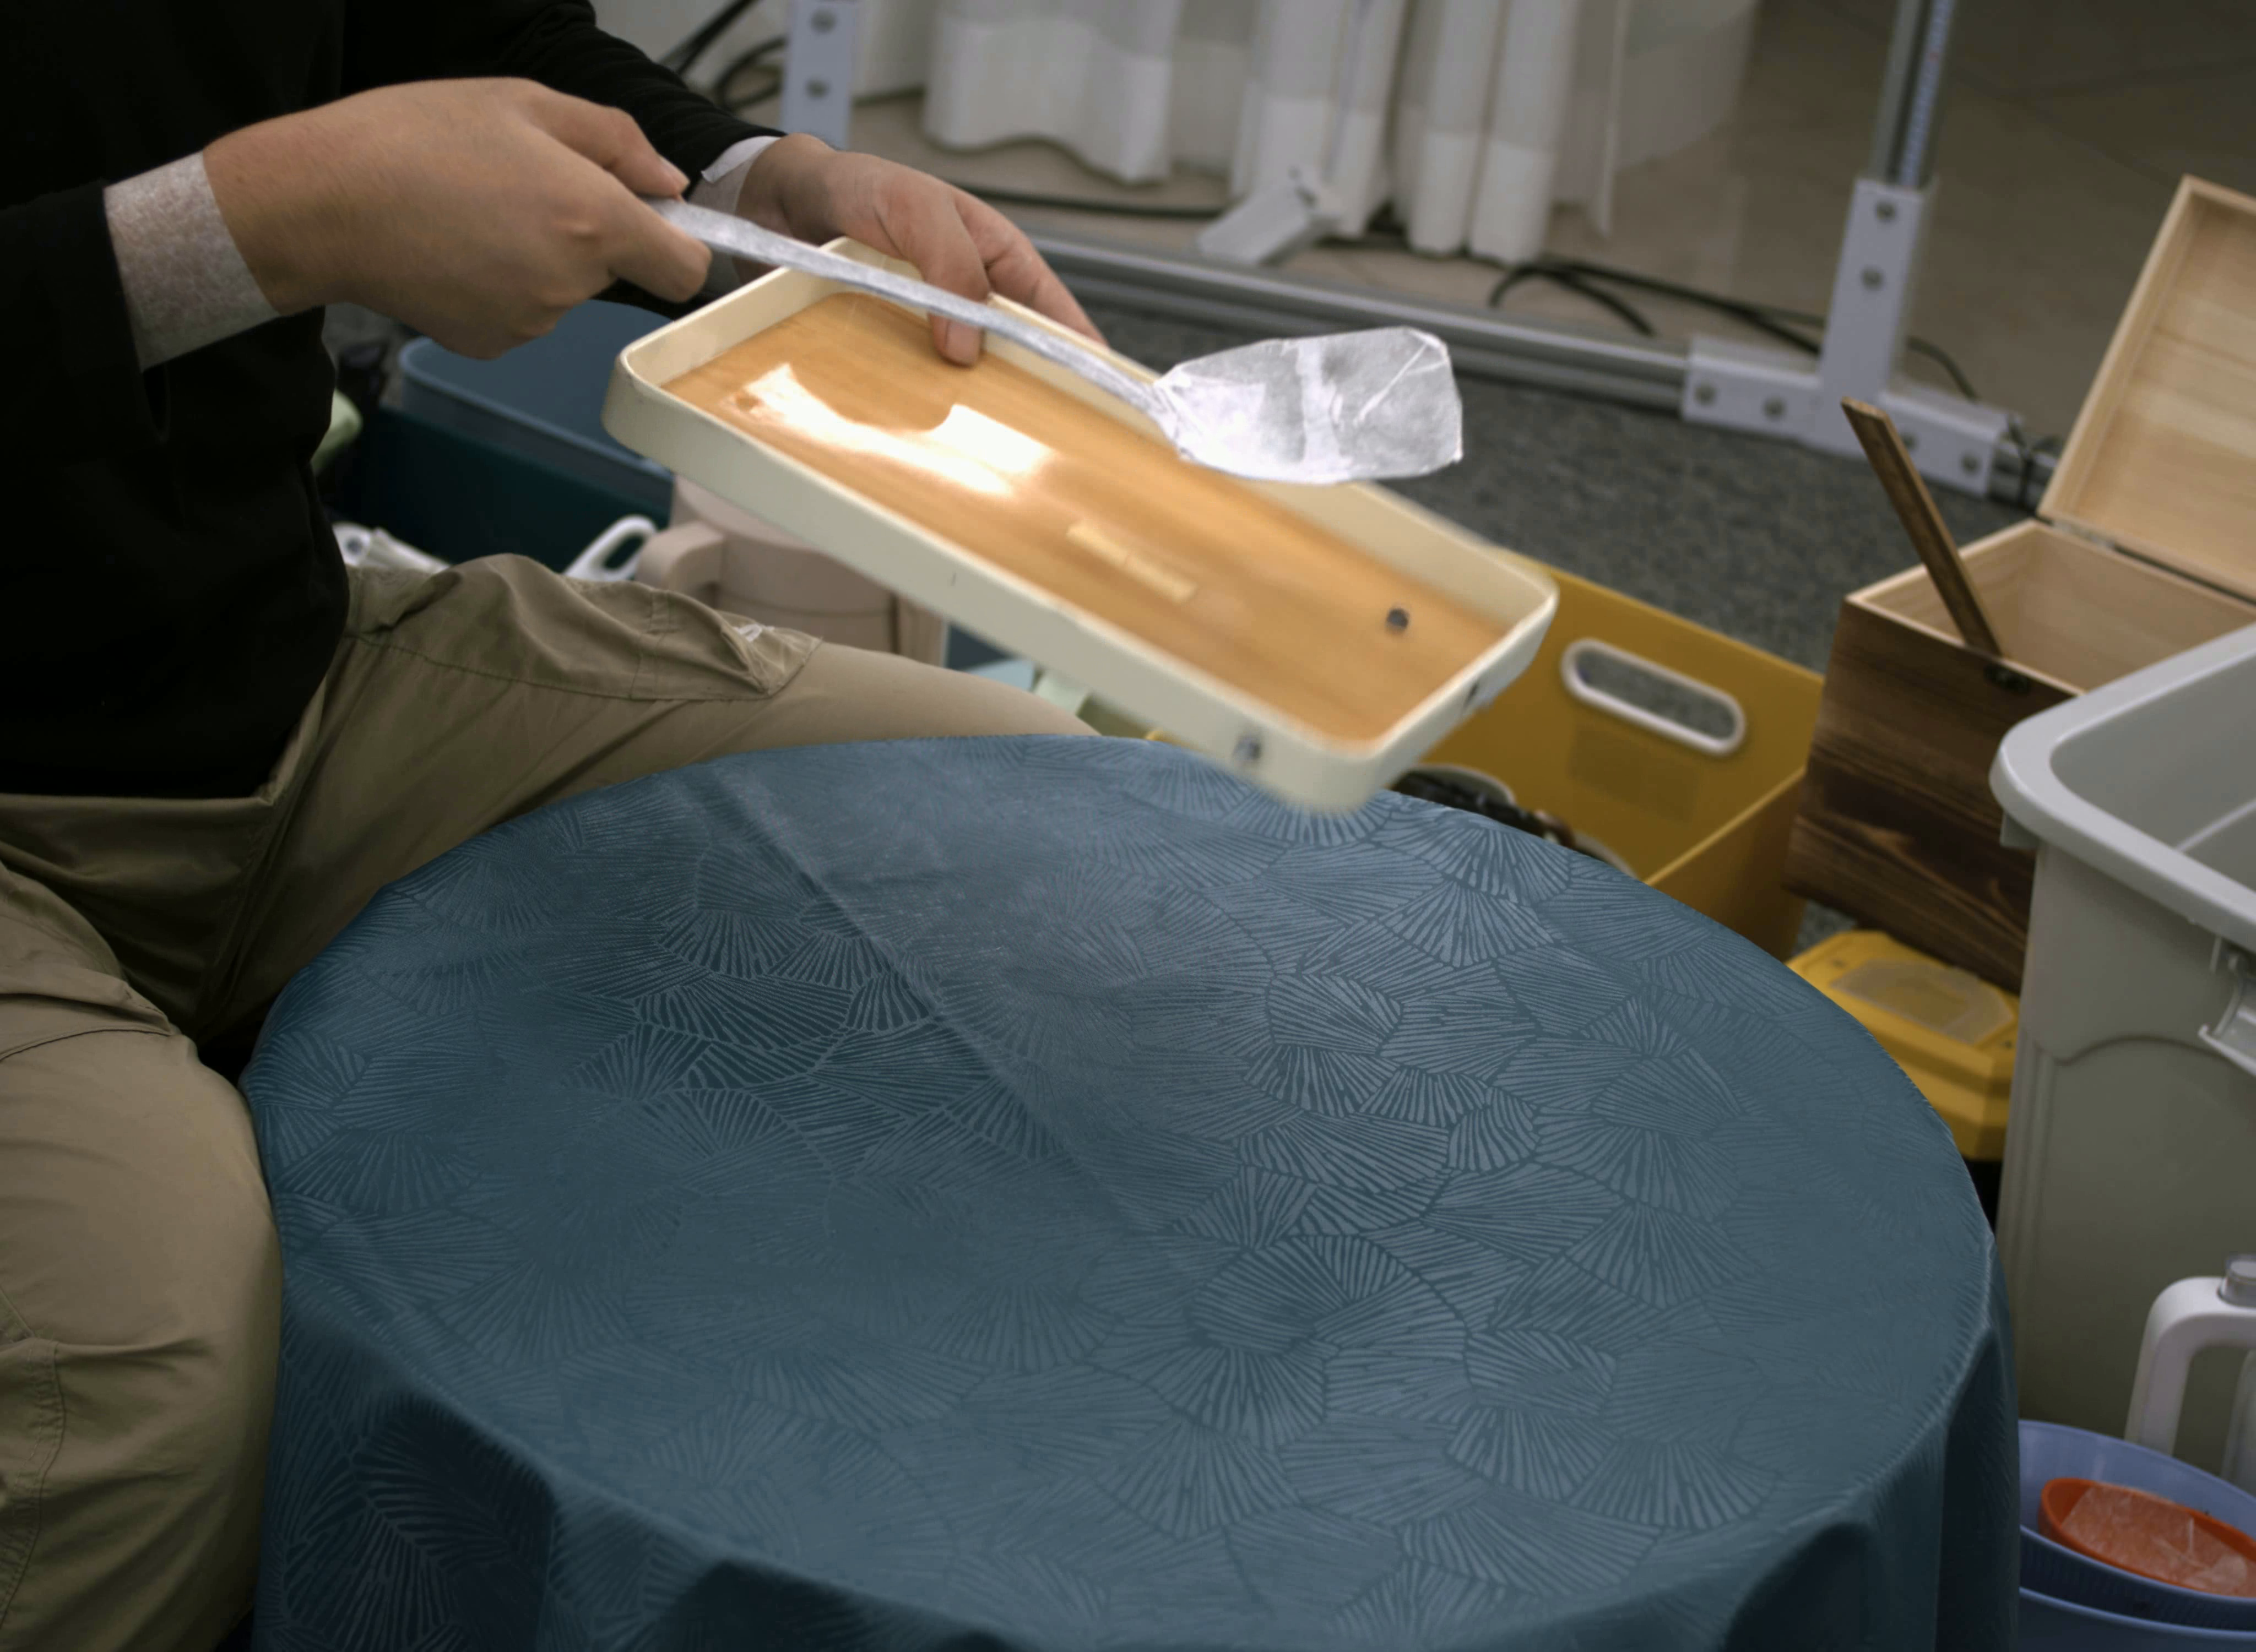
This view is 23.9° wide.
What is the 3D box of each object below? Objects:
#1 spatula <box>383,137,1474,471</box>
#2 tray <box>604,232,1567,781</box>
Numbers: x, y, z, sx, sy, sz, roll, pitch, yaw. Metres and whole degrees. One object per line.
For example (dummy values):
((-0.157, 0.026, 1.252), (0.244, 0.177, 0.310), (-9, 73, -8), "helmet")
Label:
((-0.064, -0.179, 1.739), (0.363, 0.044, 0.099), (17, 34, -10), "spatula")
((-0.013, -0.114, 1.828), (0.301, 0.027, 0.191), (27, 29, 17), "tray")
